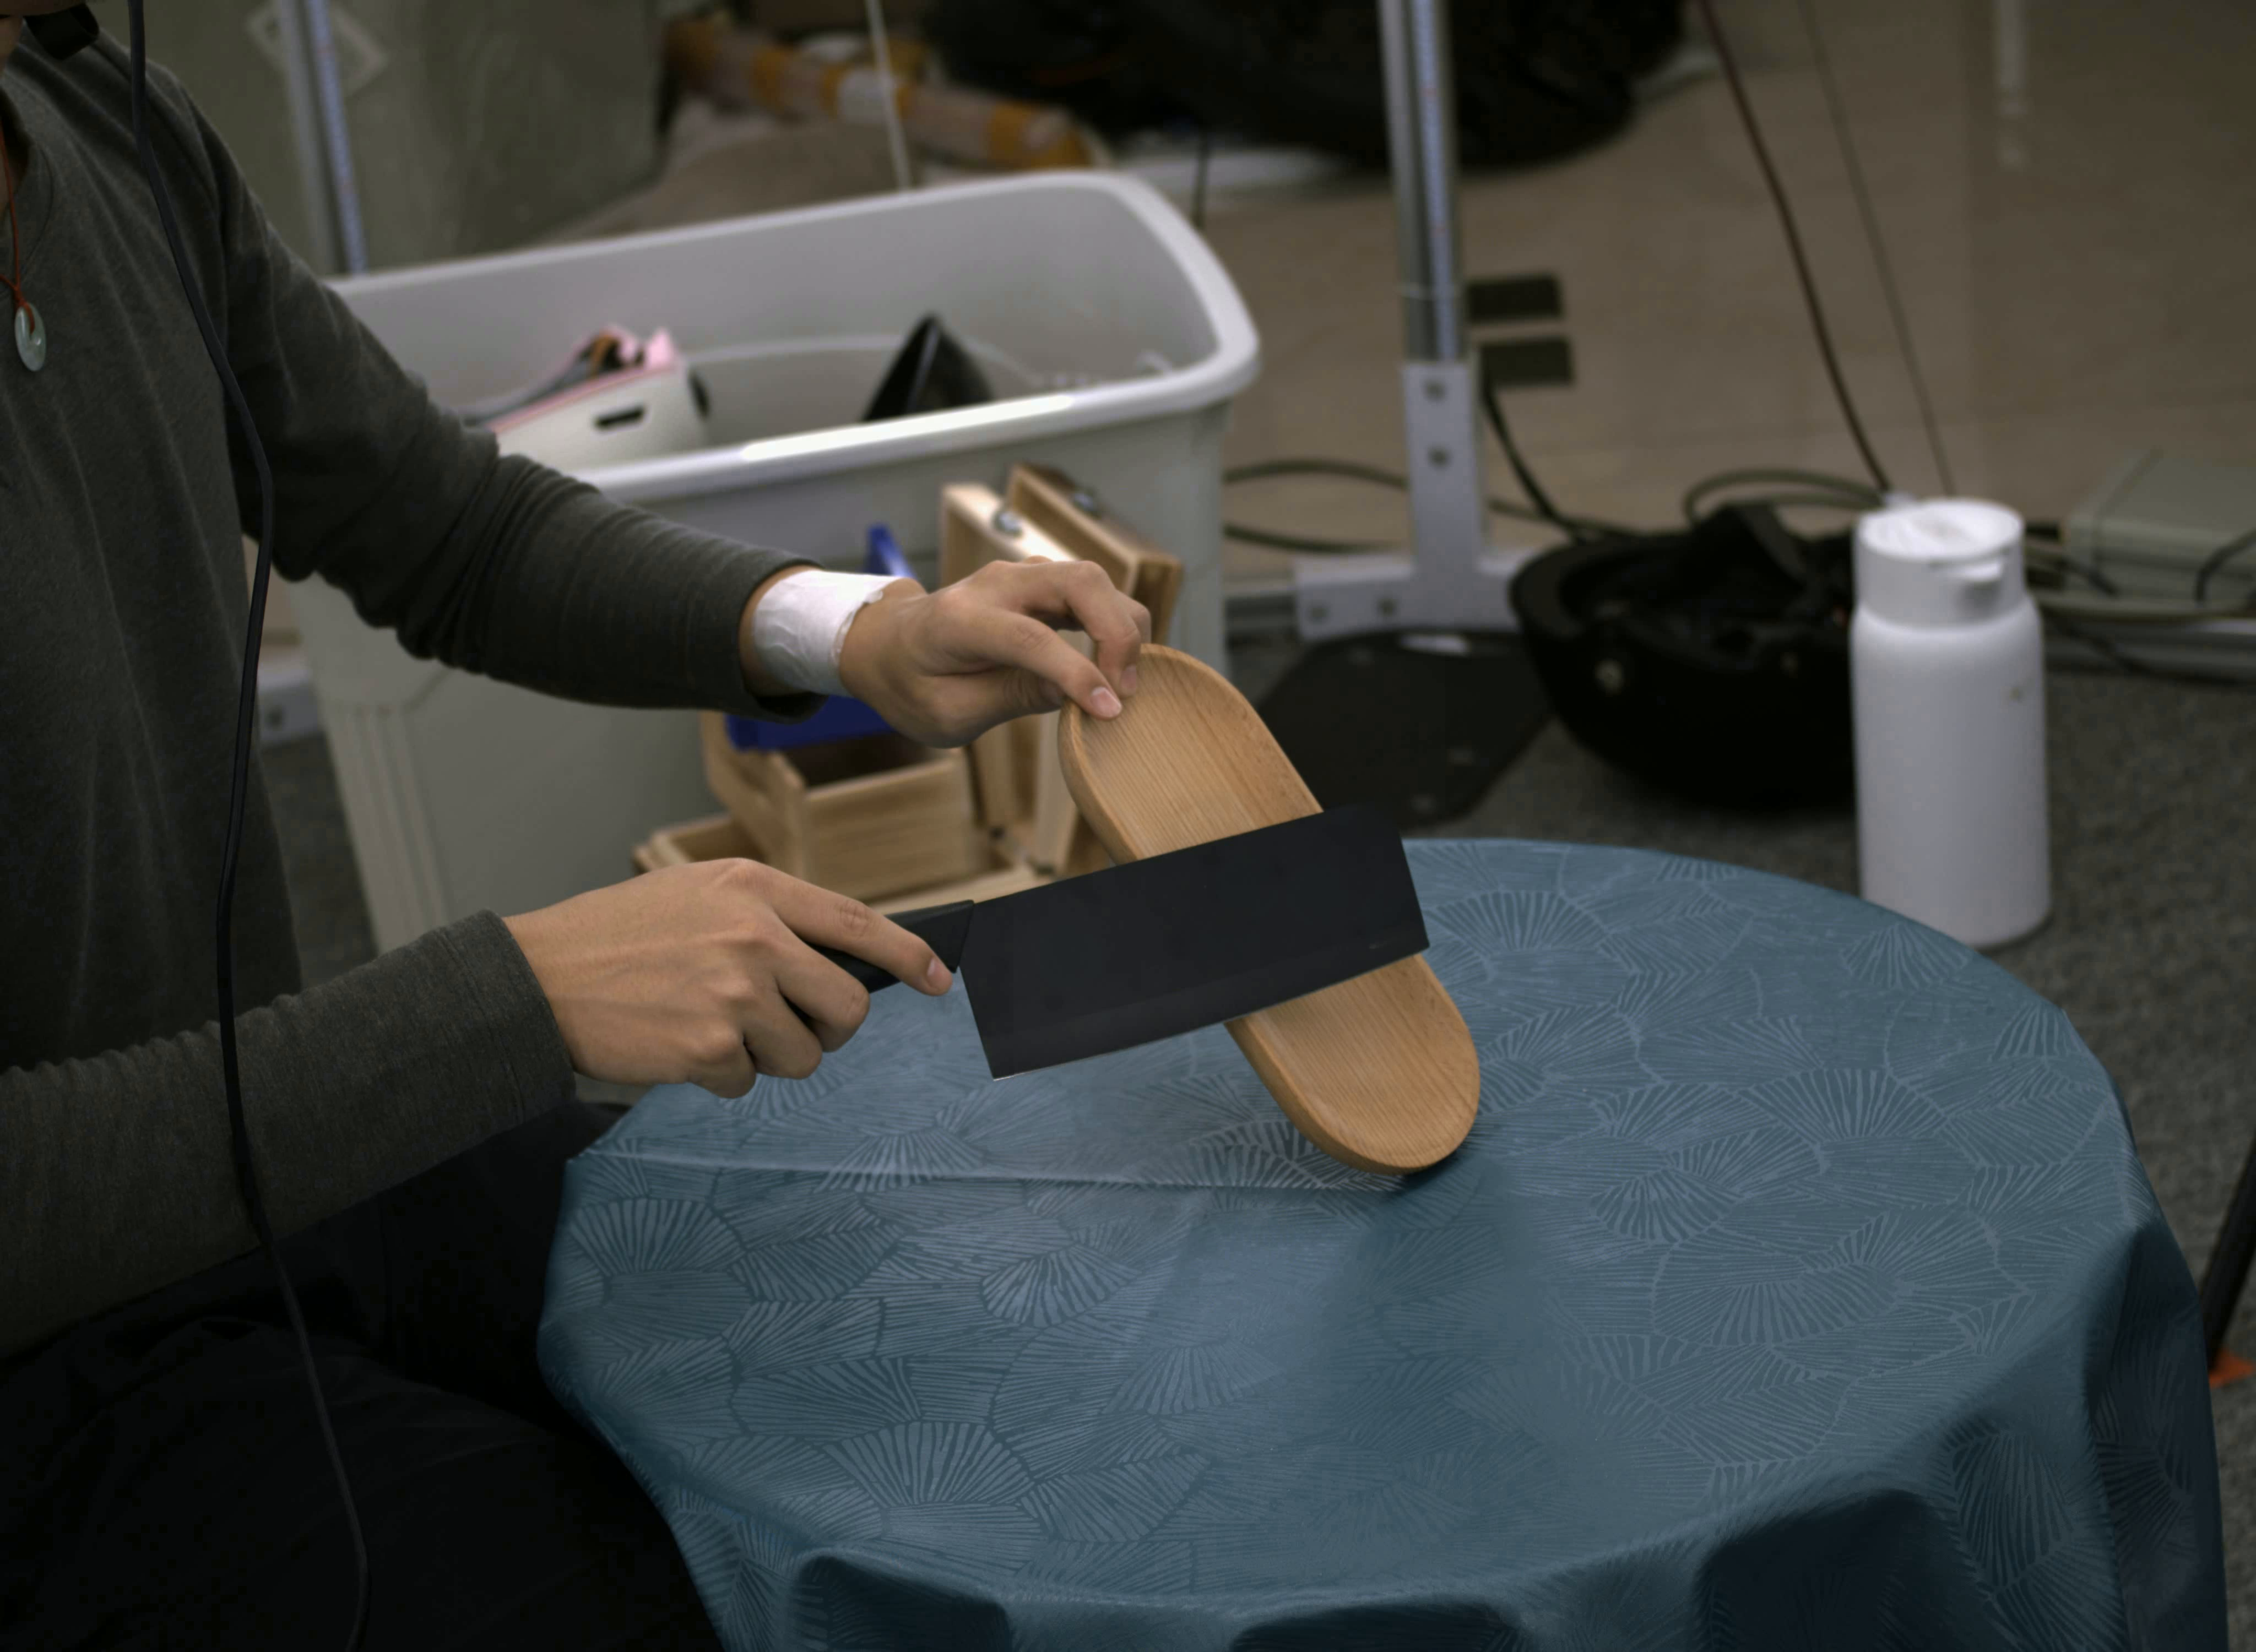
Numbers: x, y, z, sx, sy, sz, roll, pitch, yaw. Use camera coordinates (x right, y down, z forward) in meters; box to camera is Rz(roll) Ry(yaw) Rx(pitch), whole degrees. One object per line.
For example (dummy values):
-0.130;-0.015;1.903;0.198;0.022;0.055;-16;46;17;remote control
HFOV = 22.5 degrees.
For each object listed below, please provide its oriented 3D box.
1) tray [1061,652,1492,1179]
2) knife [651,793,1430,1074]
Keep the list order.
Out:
0.056;0.034;2.150;0.100;0.231;0.020;-33;-2;-44;tray
-0.031;0.050;2.081;0.301;0.081;0.021;-10;-6;-18;knife
